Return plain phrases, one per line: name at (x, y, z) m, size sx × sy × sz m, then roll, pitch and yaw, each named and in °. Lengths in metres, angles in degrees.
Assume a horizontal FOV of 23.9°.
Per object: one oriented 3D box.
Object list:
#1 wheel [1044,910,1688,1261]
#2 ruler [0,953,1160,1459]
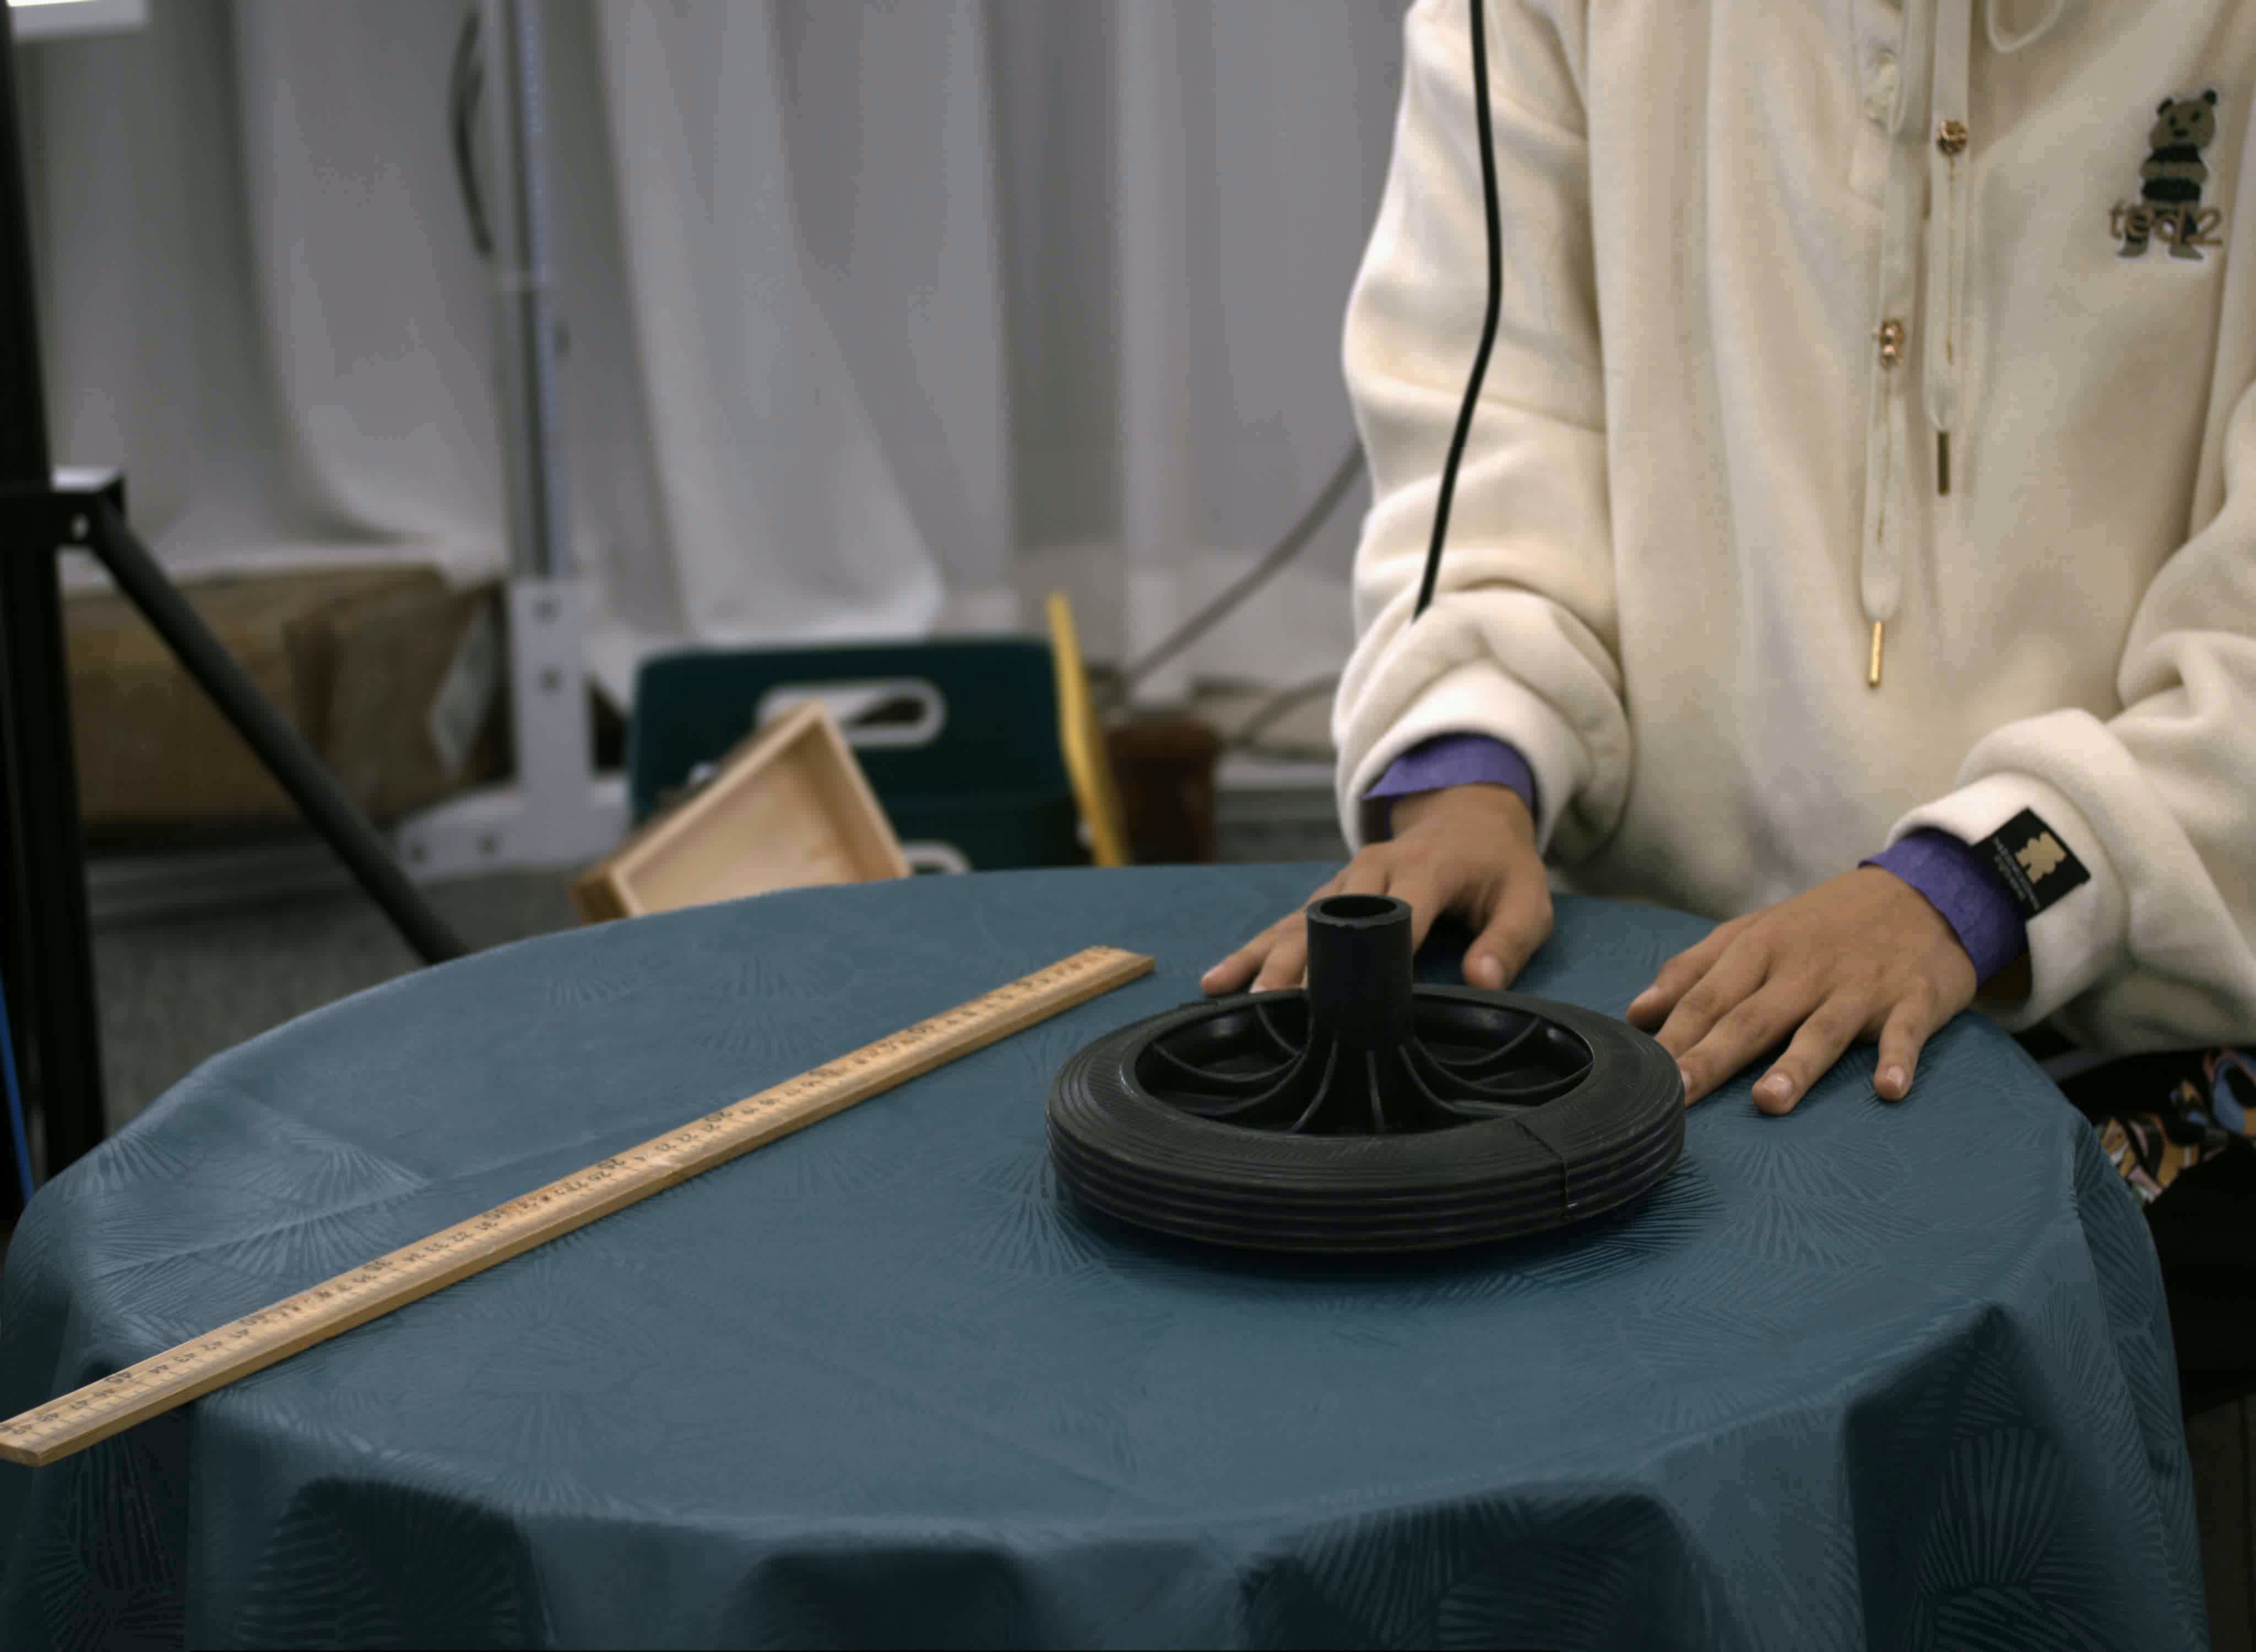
wheel at (0.070, 0.067, 1.552) m, size 0.189 × 0.079 × 0.188 m, roll -1°, pitch 15°, yaw 3°
ruler at (-0.146, 0.104, 1.587) m, size 0.027 × 0.006 × 0.490 m, roll 8°, pitch 19°, yaw 37°
